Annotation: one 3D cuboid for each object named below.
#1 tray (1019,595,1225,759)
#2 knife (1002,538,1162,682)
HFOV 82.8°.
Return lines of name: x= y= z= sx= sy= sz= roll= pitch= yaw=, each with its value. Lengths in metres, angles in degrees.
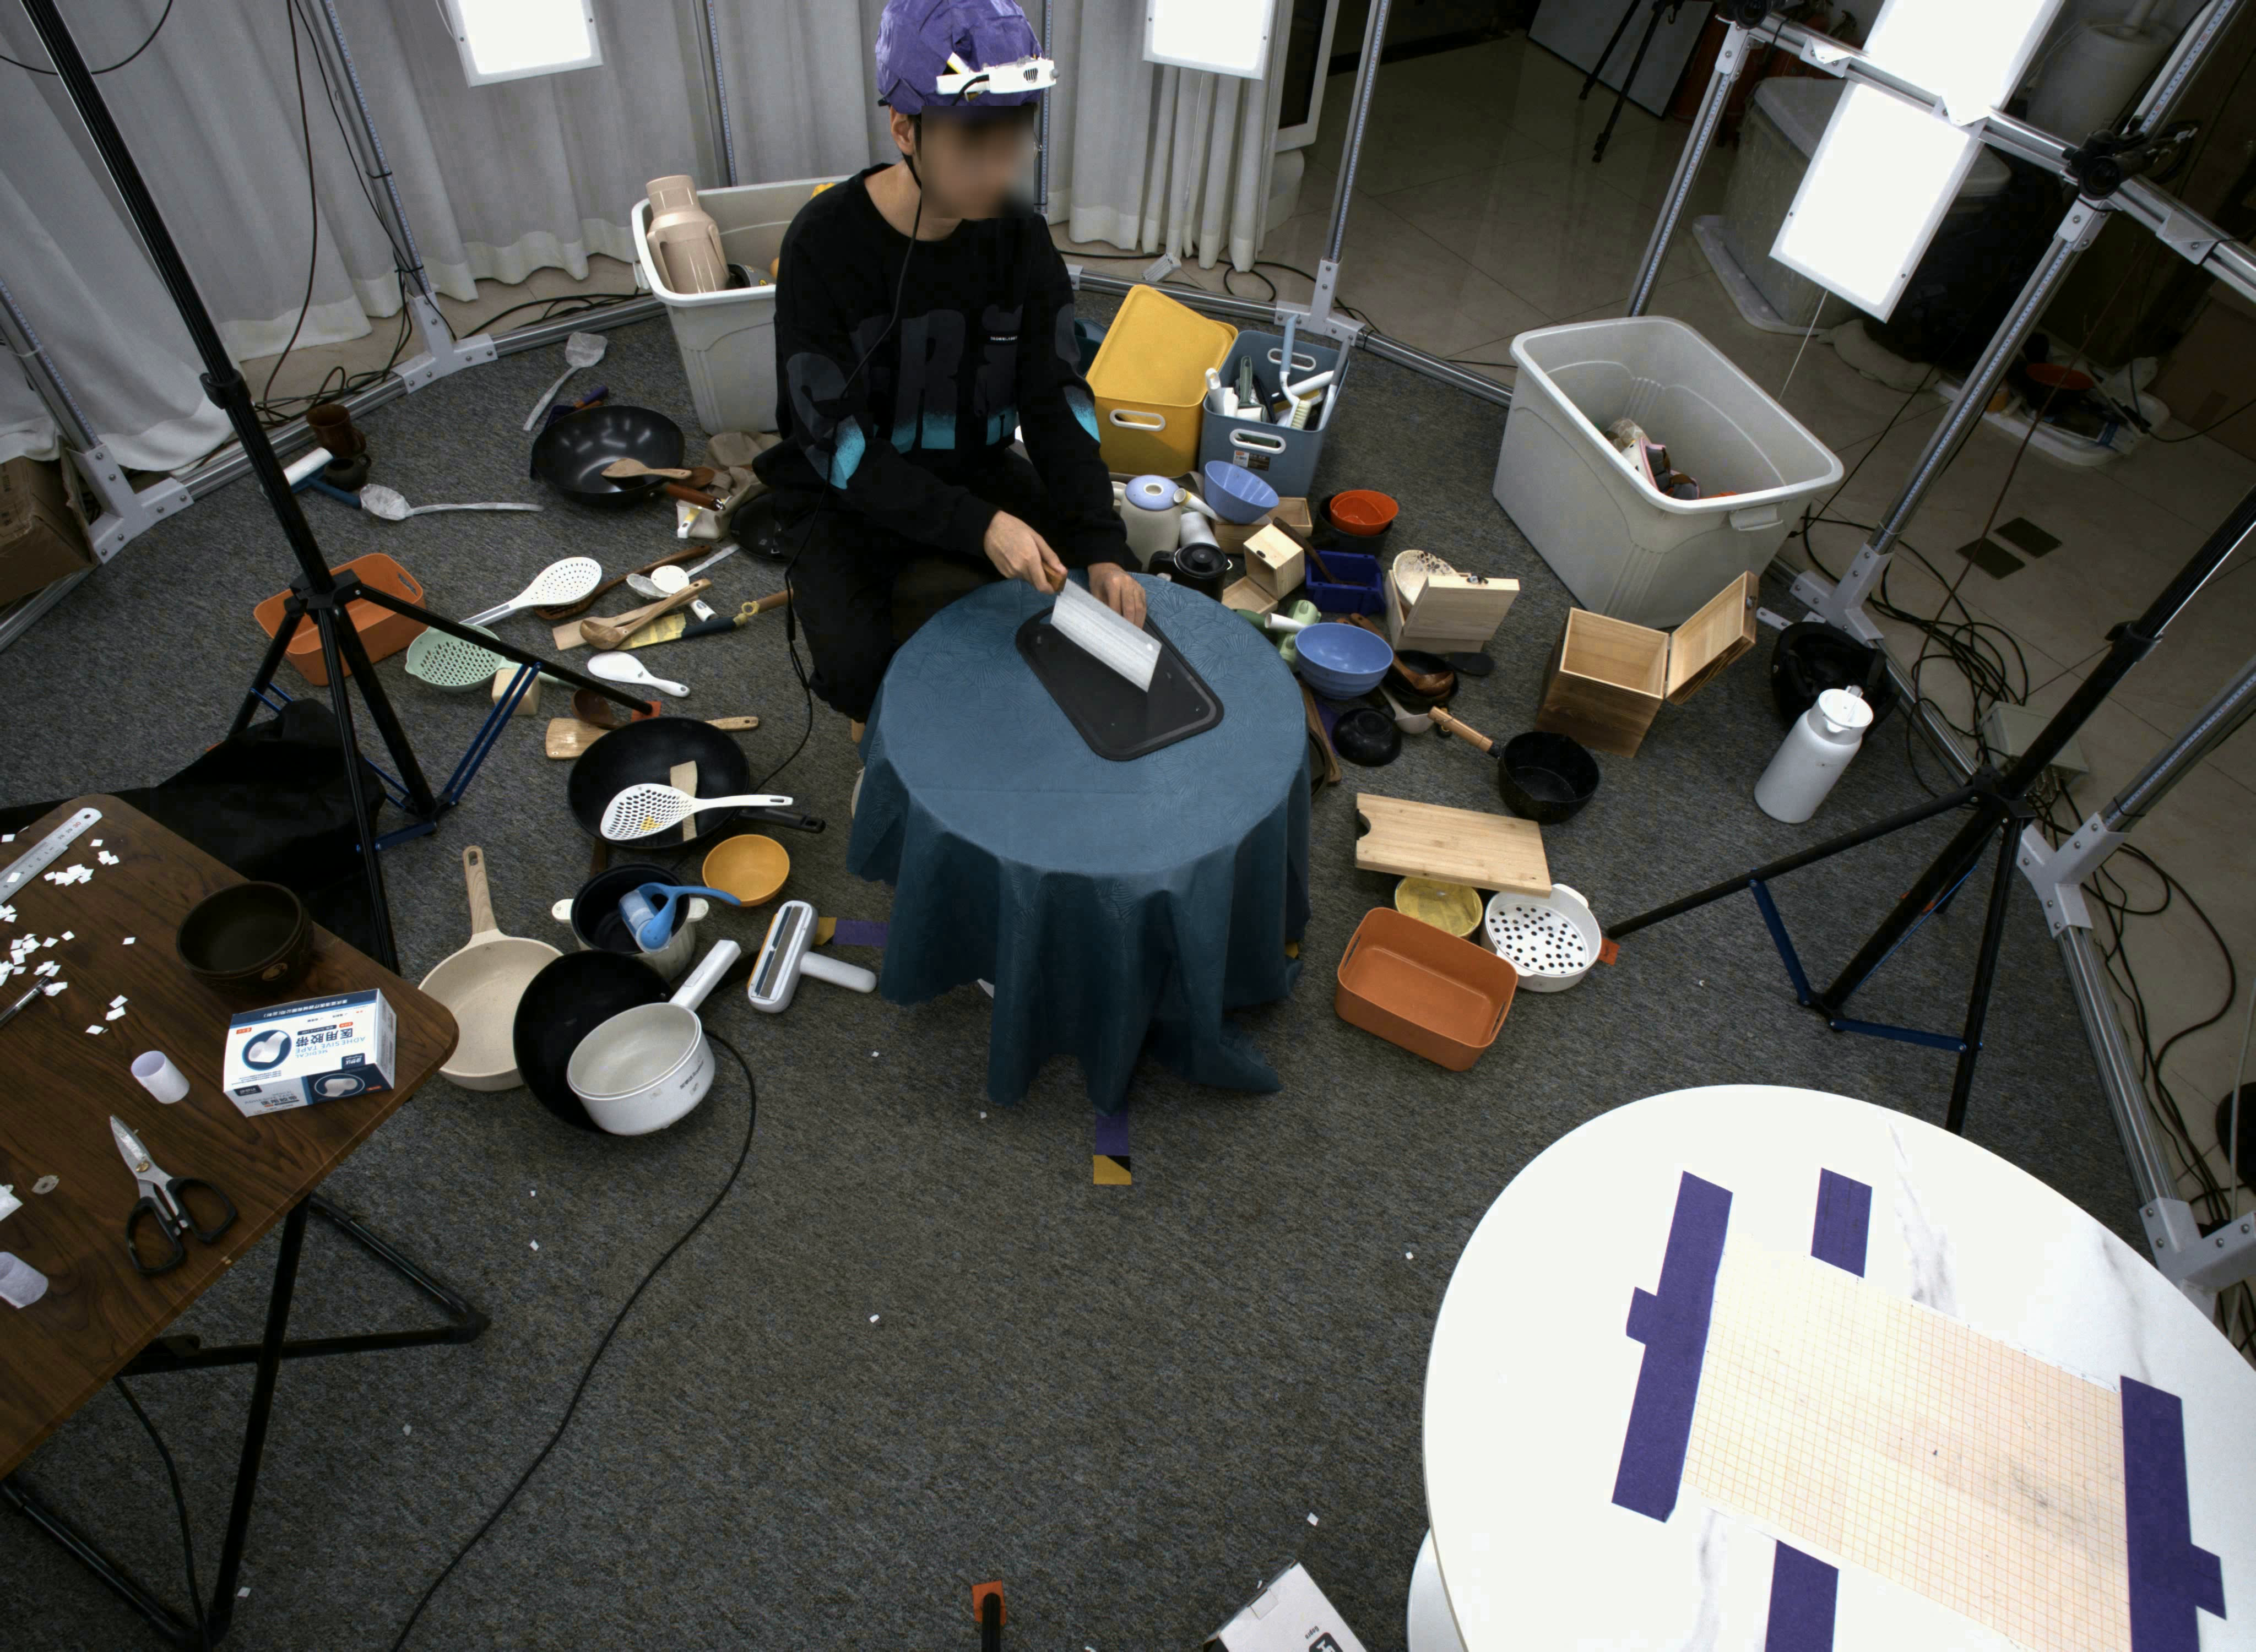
tray: x=-0.016 y=-0.227 z=1.860 sx=0.211 sy=0.009 sz=0.332 roll=-21 pitch=54 yaw=-20
knife: x=-0.072 y=-0.309 z=1.858 sx=0.309 sy=0.091 sz=0.021 roll=38 pitch=47 yaw=22
